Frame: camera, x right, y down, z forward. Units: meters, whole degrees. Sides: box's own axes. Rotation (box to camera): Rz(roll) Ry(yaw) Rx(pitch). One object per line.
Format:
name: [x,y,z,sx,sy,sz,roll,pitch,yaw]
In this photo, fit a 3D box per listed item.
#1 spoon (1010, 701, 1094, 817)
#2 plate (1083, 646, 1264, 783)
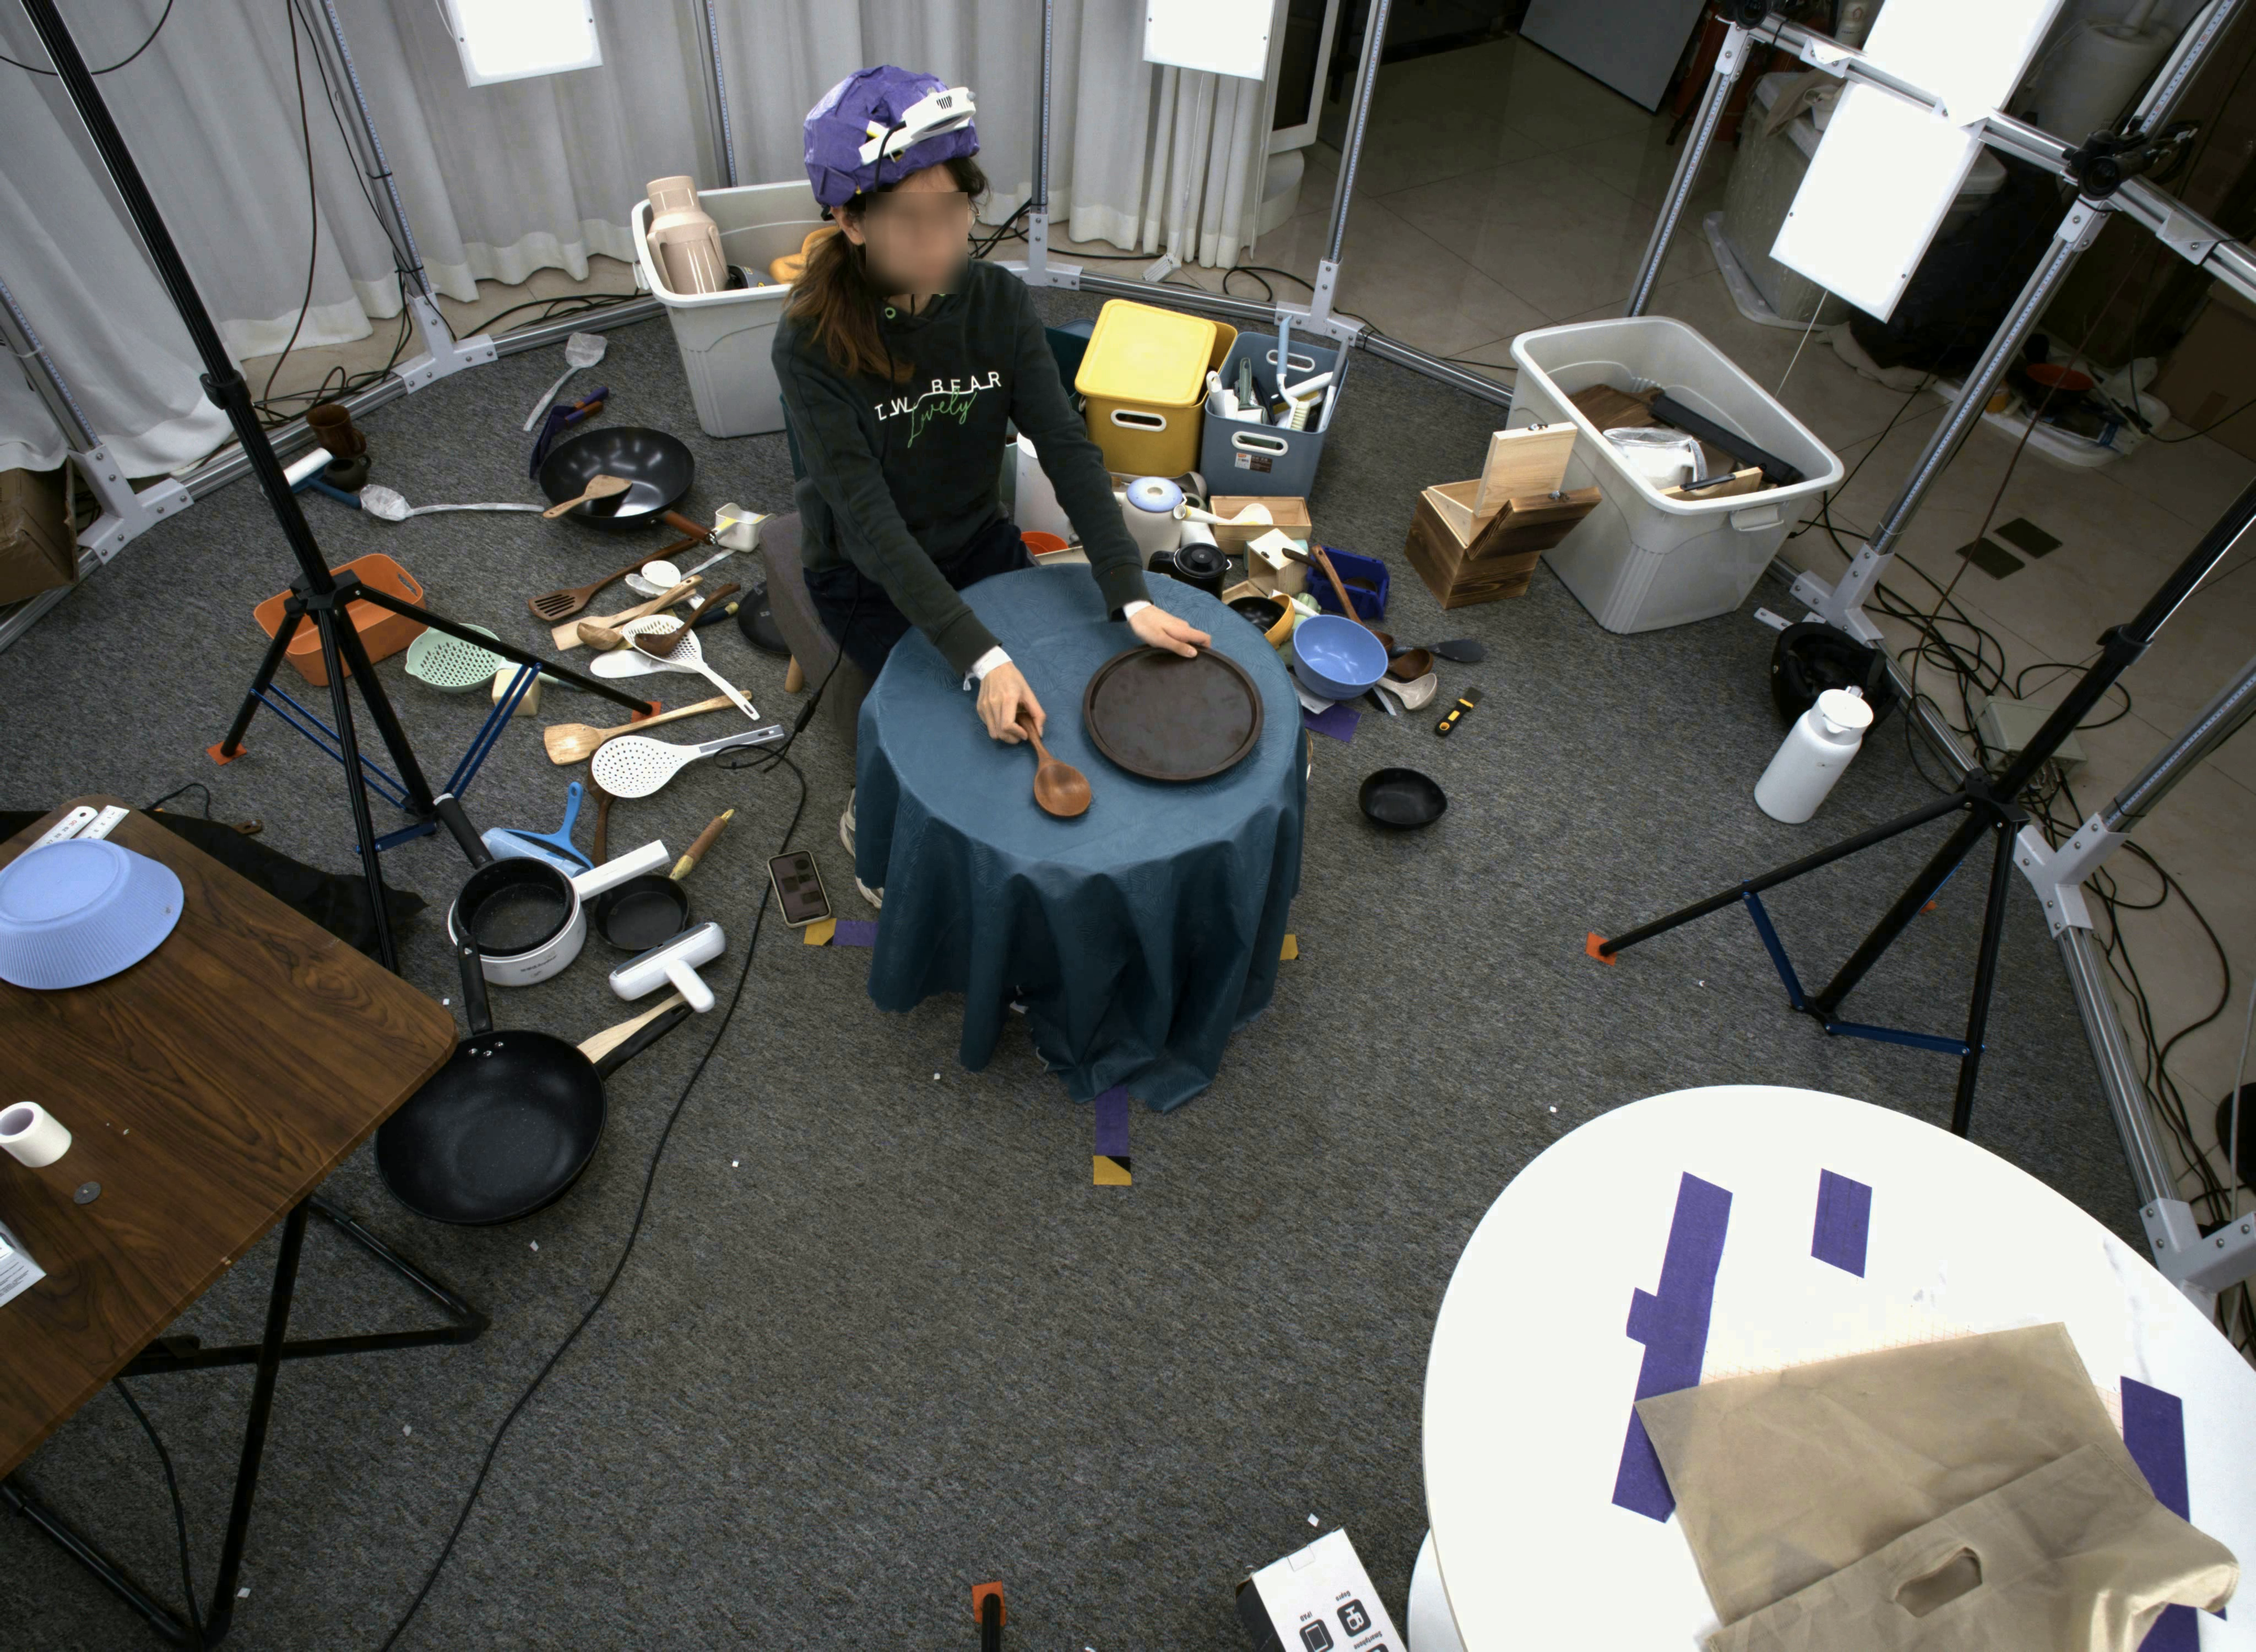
spoon: [-0.112,-0.092,1.740,0.075,0.017,0.220,-19,56,-16]
plate: [0.064,-0.159,1.801,0.254,0.028,0.261,1,53,-2]
